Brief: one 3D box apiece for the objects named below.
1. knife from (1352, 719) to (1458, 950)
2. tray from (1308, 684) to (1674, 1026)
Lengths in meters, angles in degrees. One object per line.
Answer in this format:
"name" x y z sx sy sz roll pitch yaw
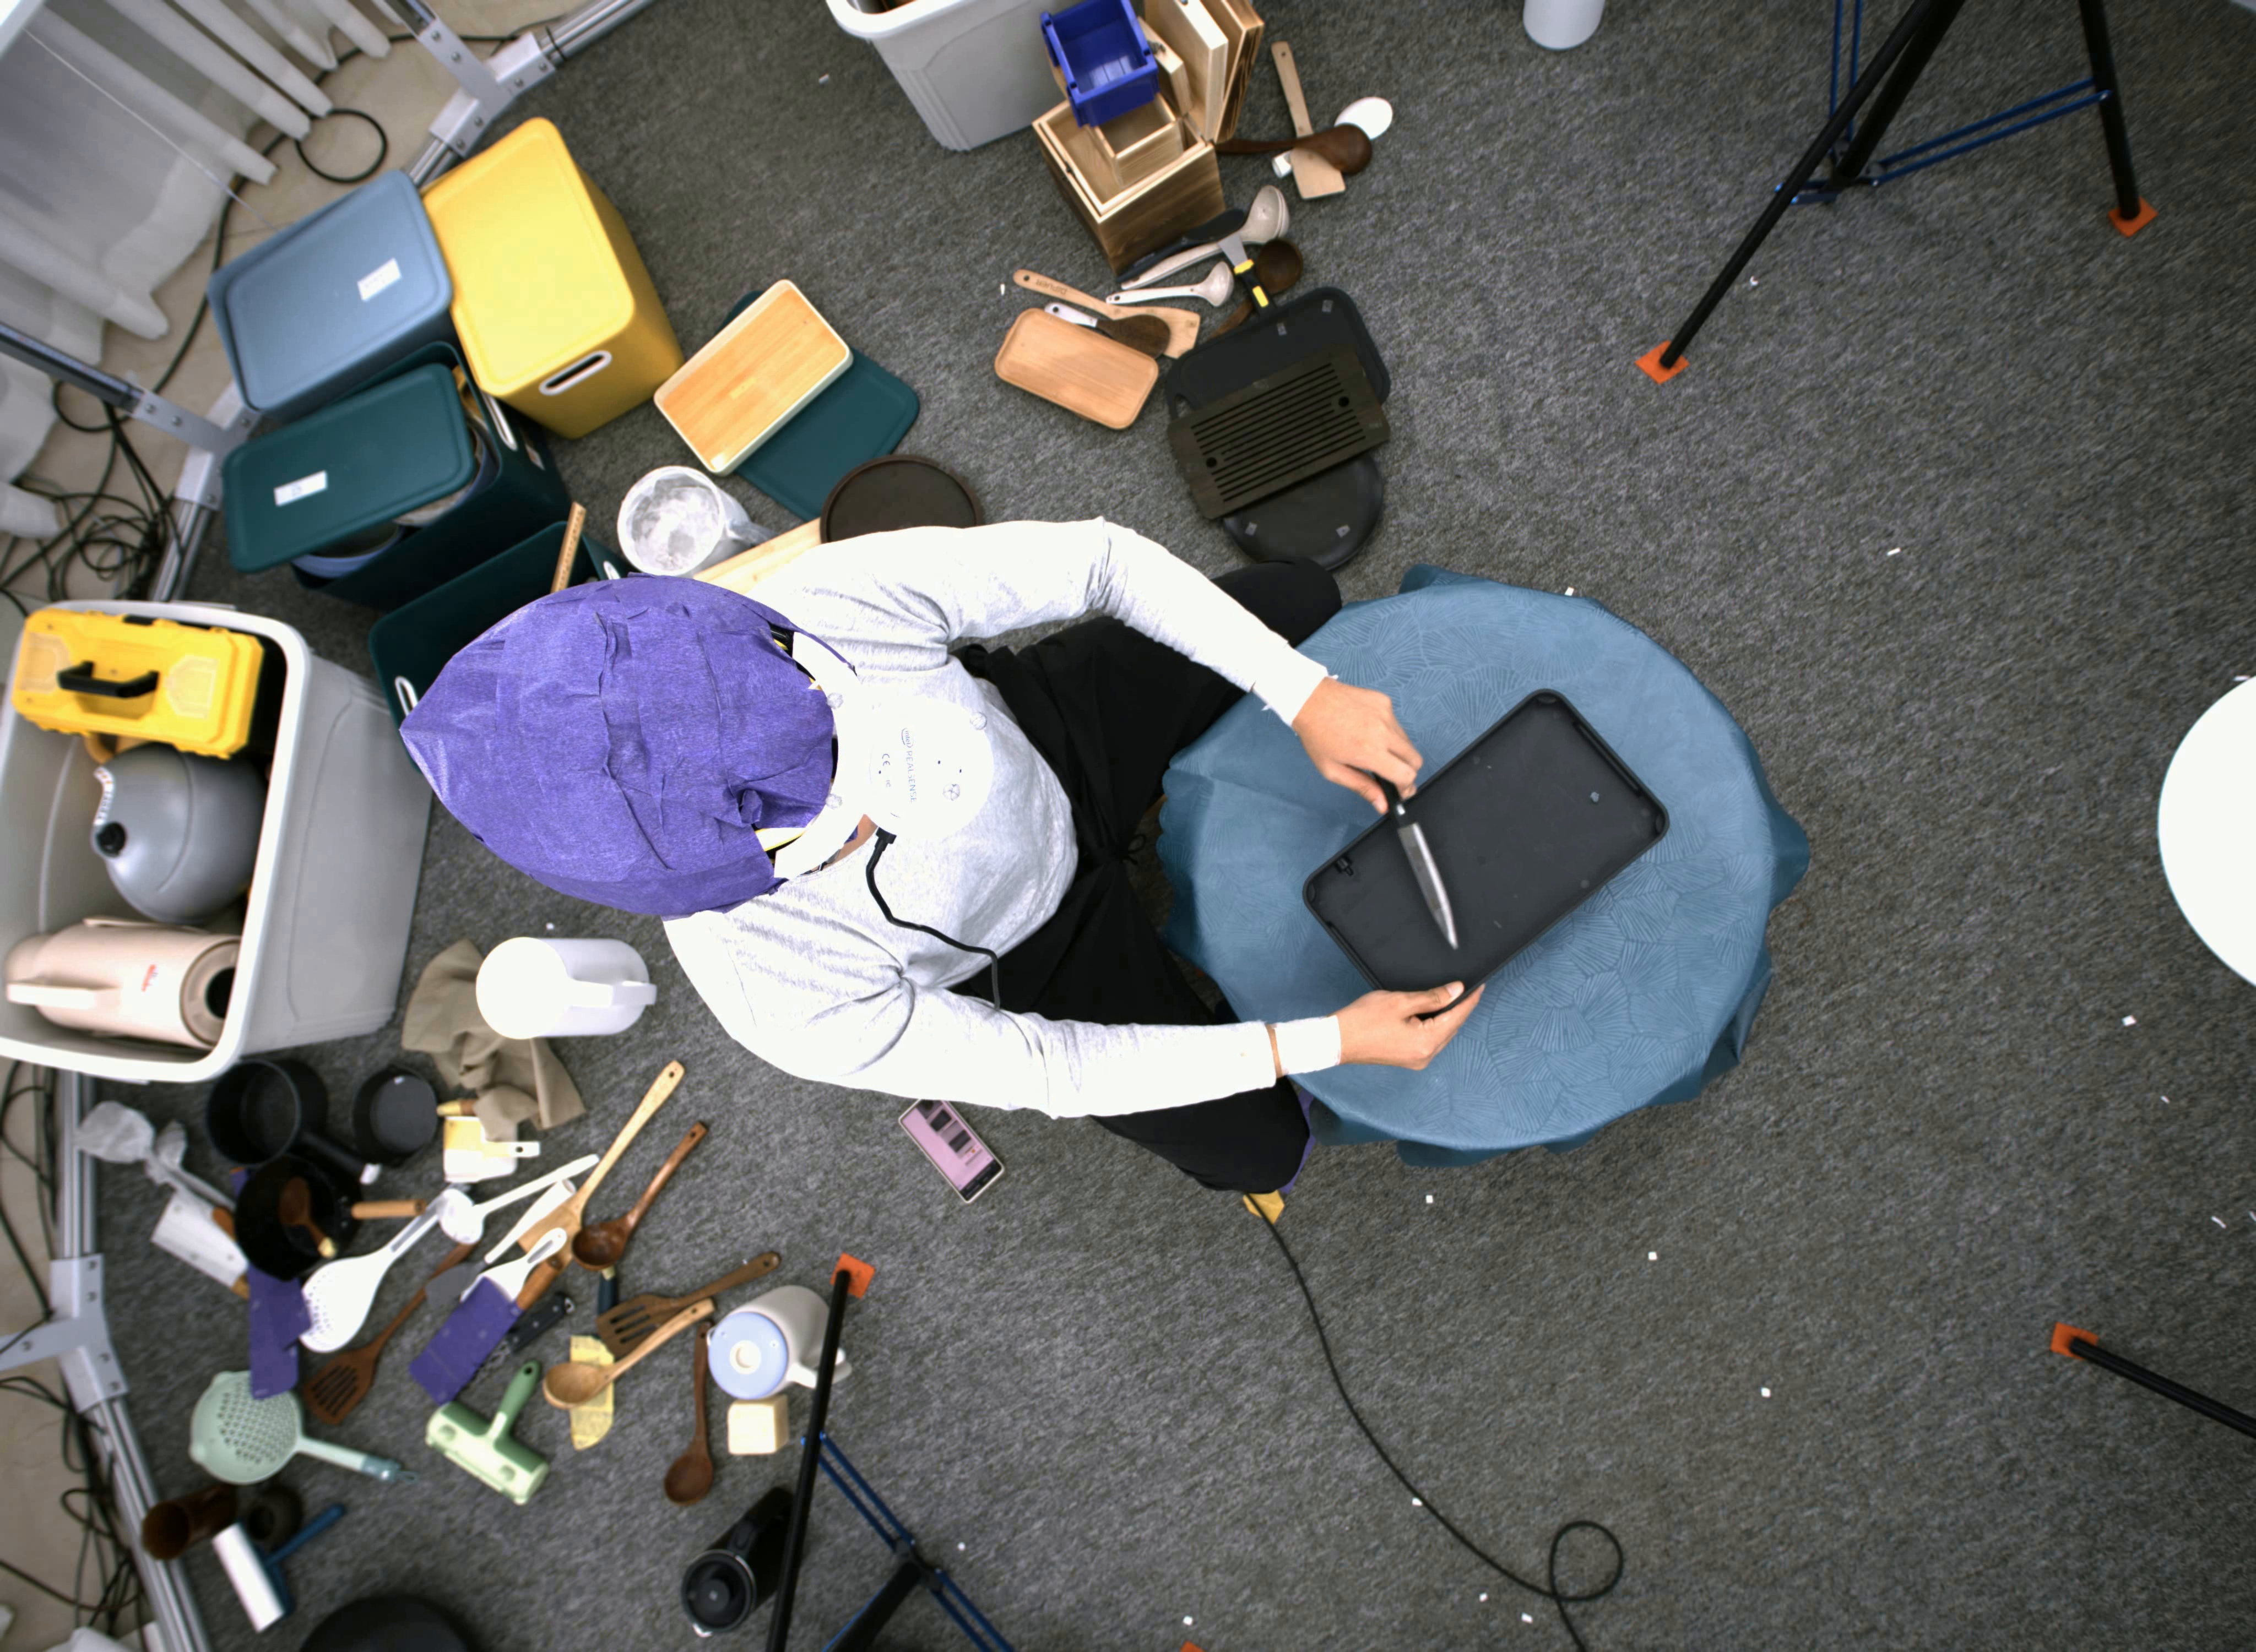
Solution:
"knife" 0.265 0.008 1.316 0.024 0.016 0.237 -21 86 -13
"tray" 0.344 0.027 1.321 0.320 0.037 0.183 -42 77 10
